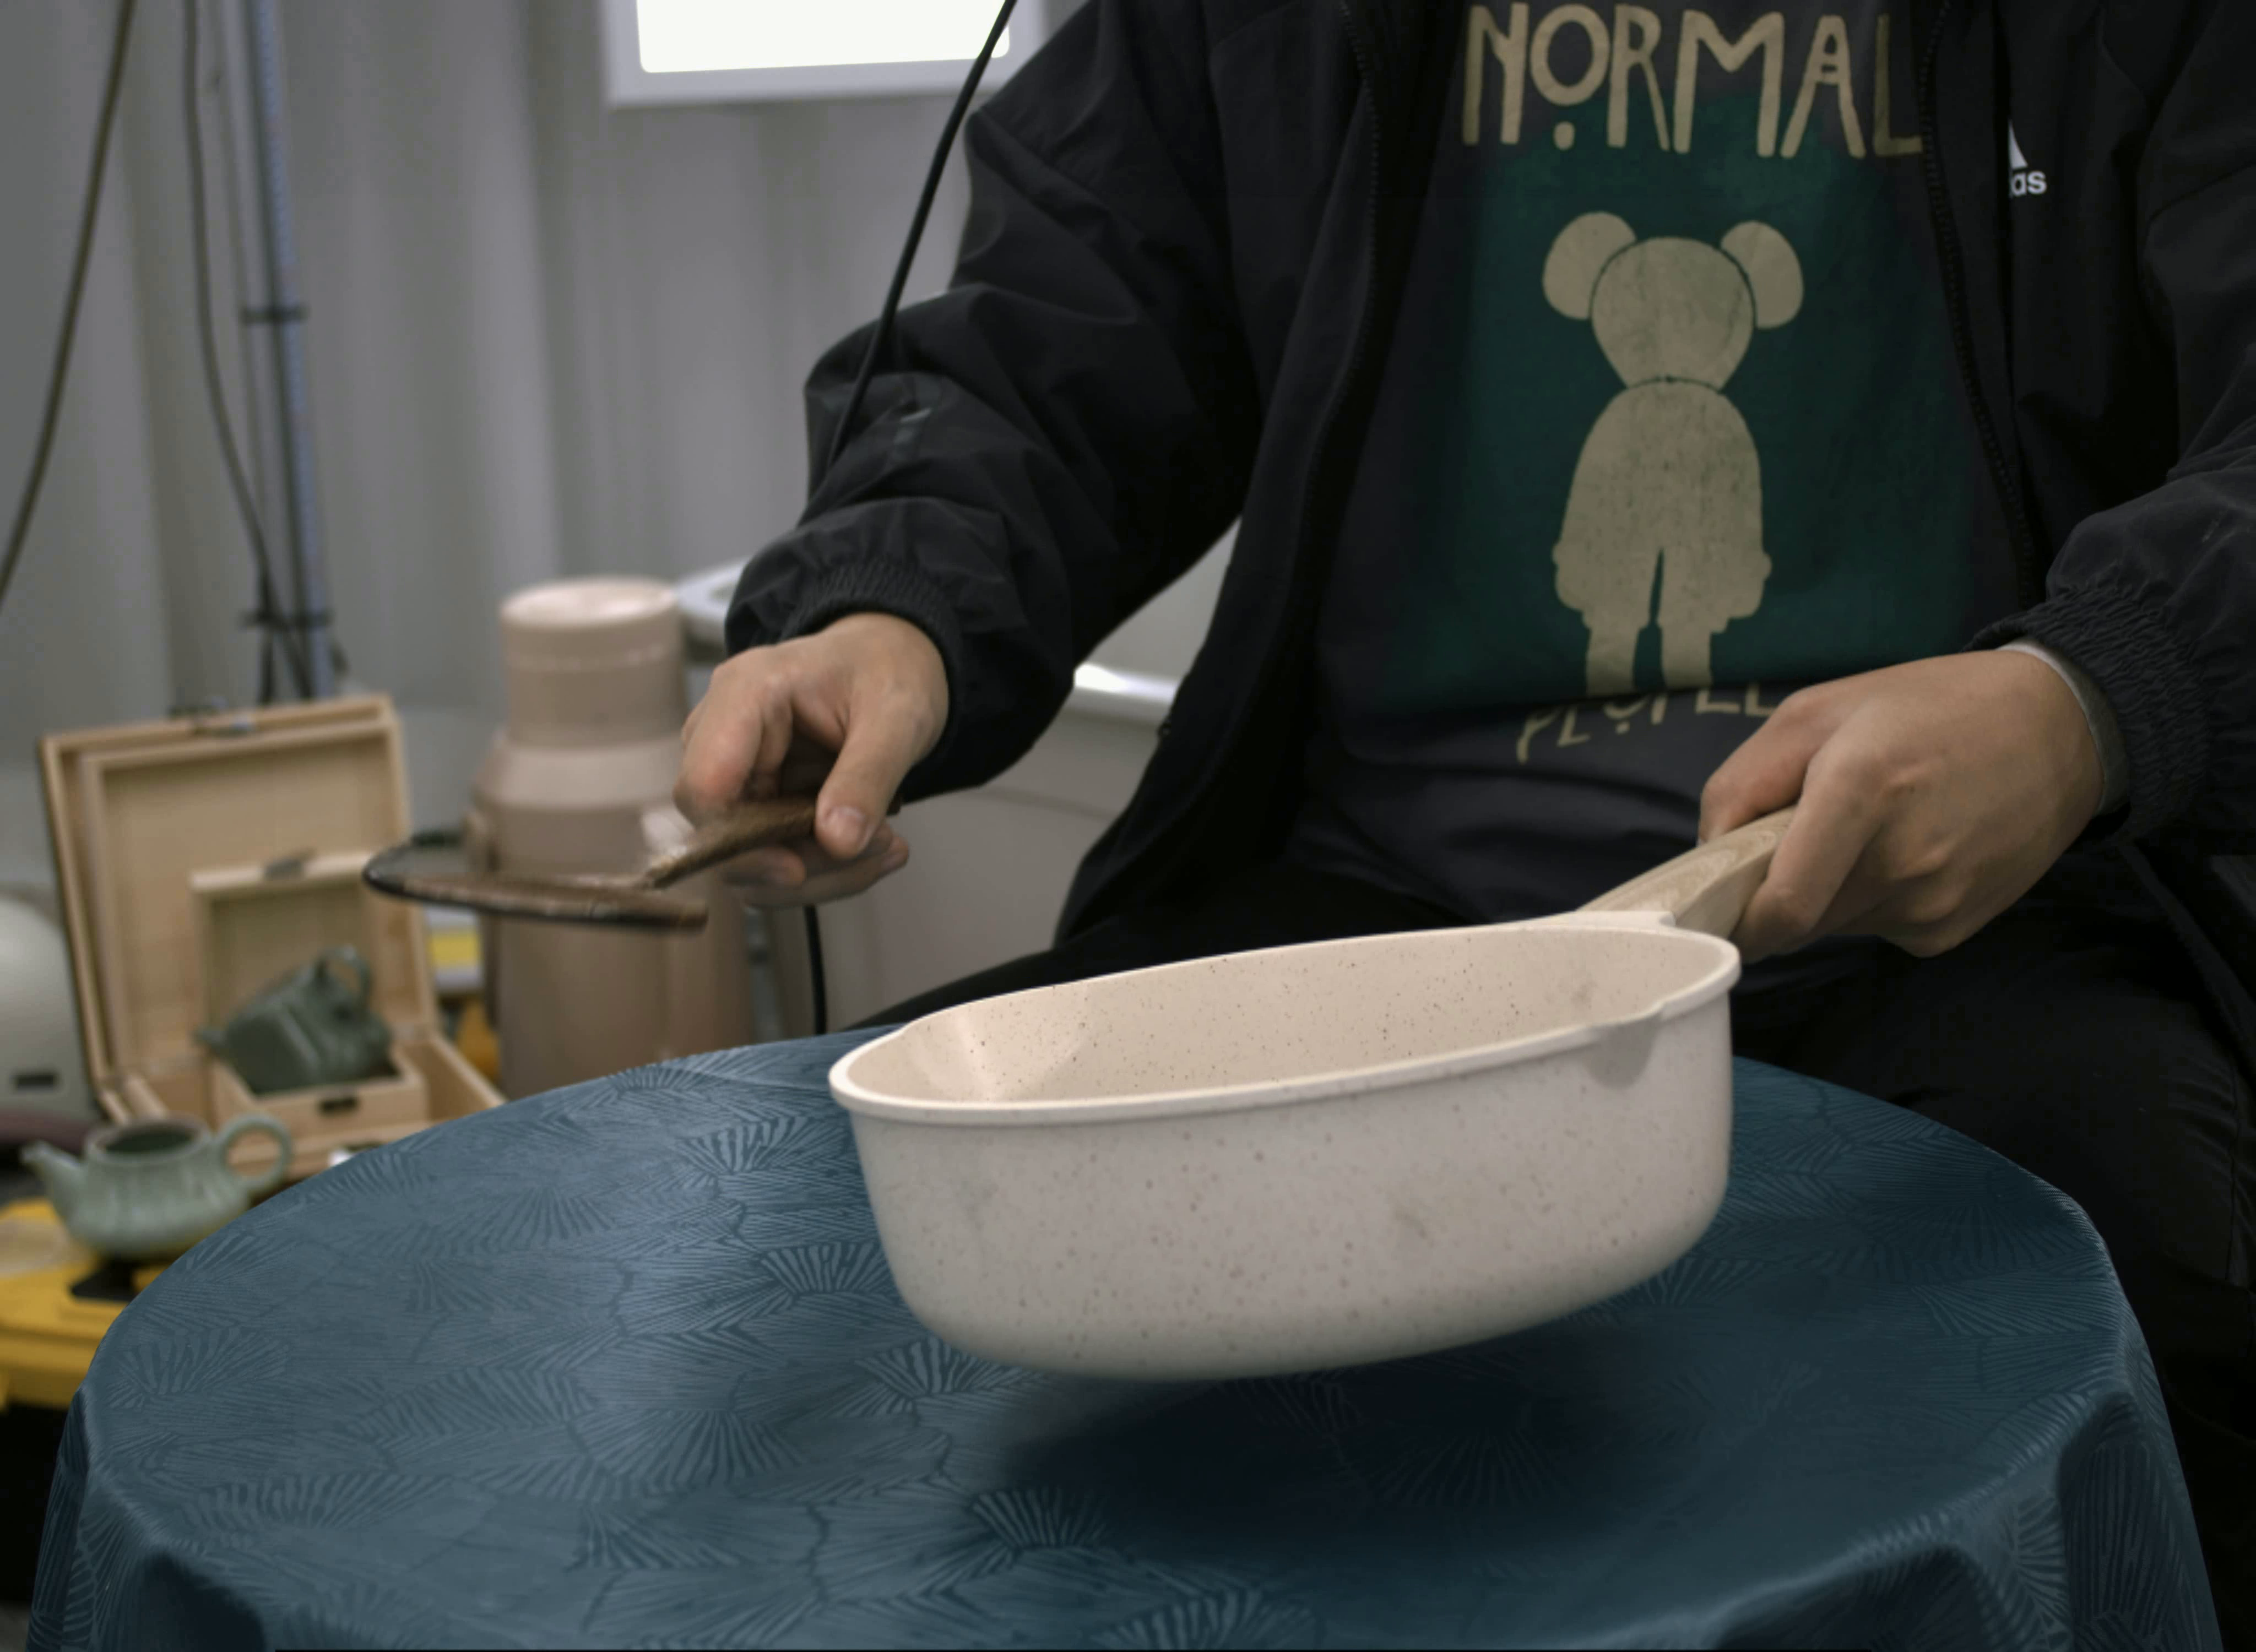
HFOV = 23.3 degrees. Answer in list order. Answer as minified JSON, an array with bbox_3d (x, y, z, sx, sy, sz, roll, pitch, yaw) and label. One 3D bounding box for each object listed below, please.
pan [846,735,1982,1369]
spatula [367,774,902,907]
[{"bbox_3d":[0.116,0.062,1.556,0.434,0.102,0.264,-15,8,-43],"label":"pan"},{"bbox_3d":[-0.131,0.002,1.701,0.096,0.016,0.386,6,7,13],"label":"spatula"}]
